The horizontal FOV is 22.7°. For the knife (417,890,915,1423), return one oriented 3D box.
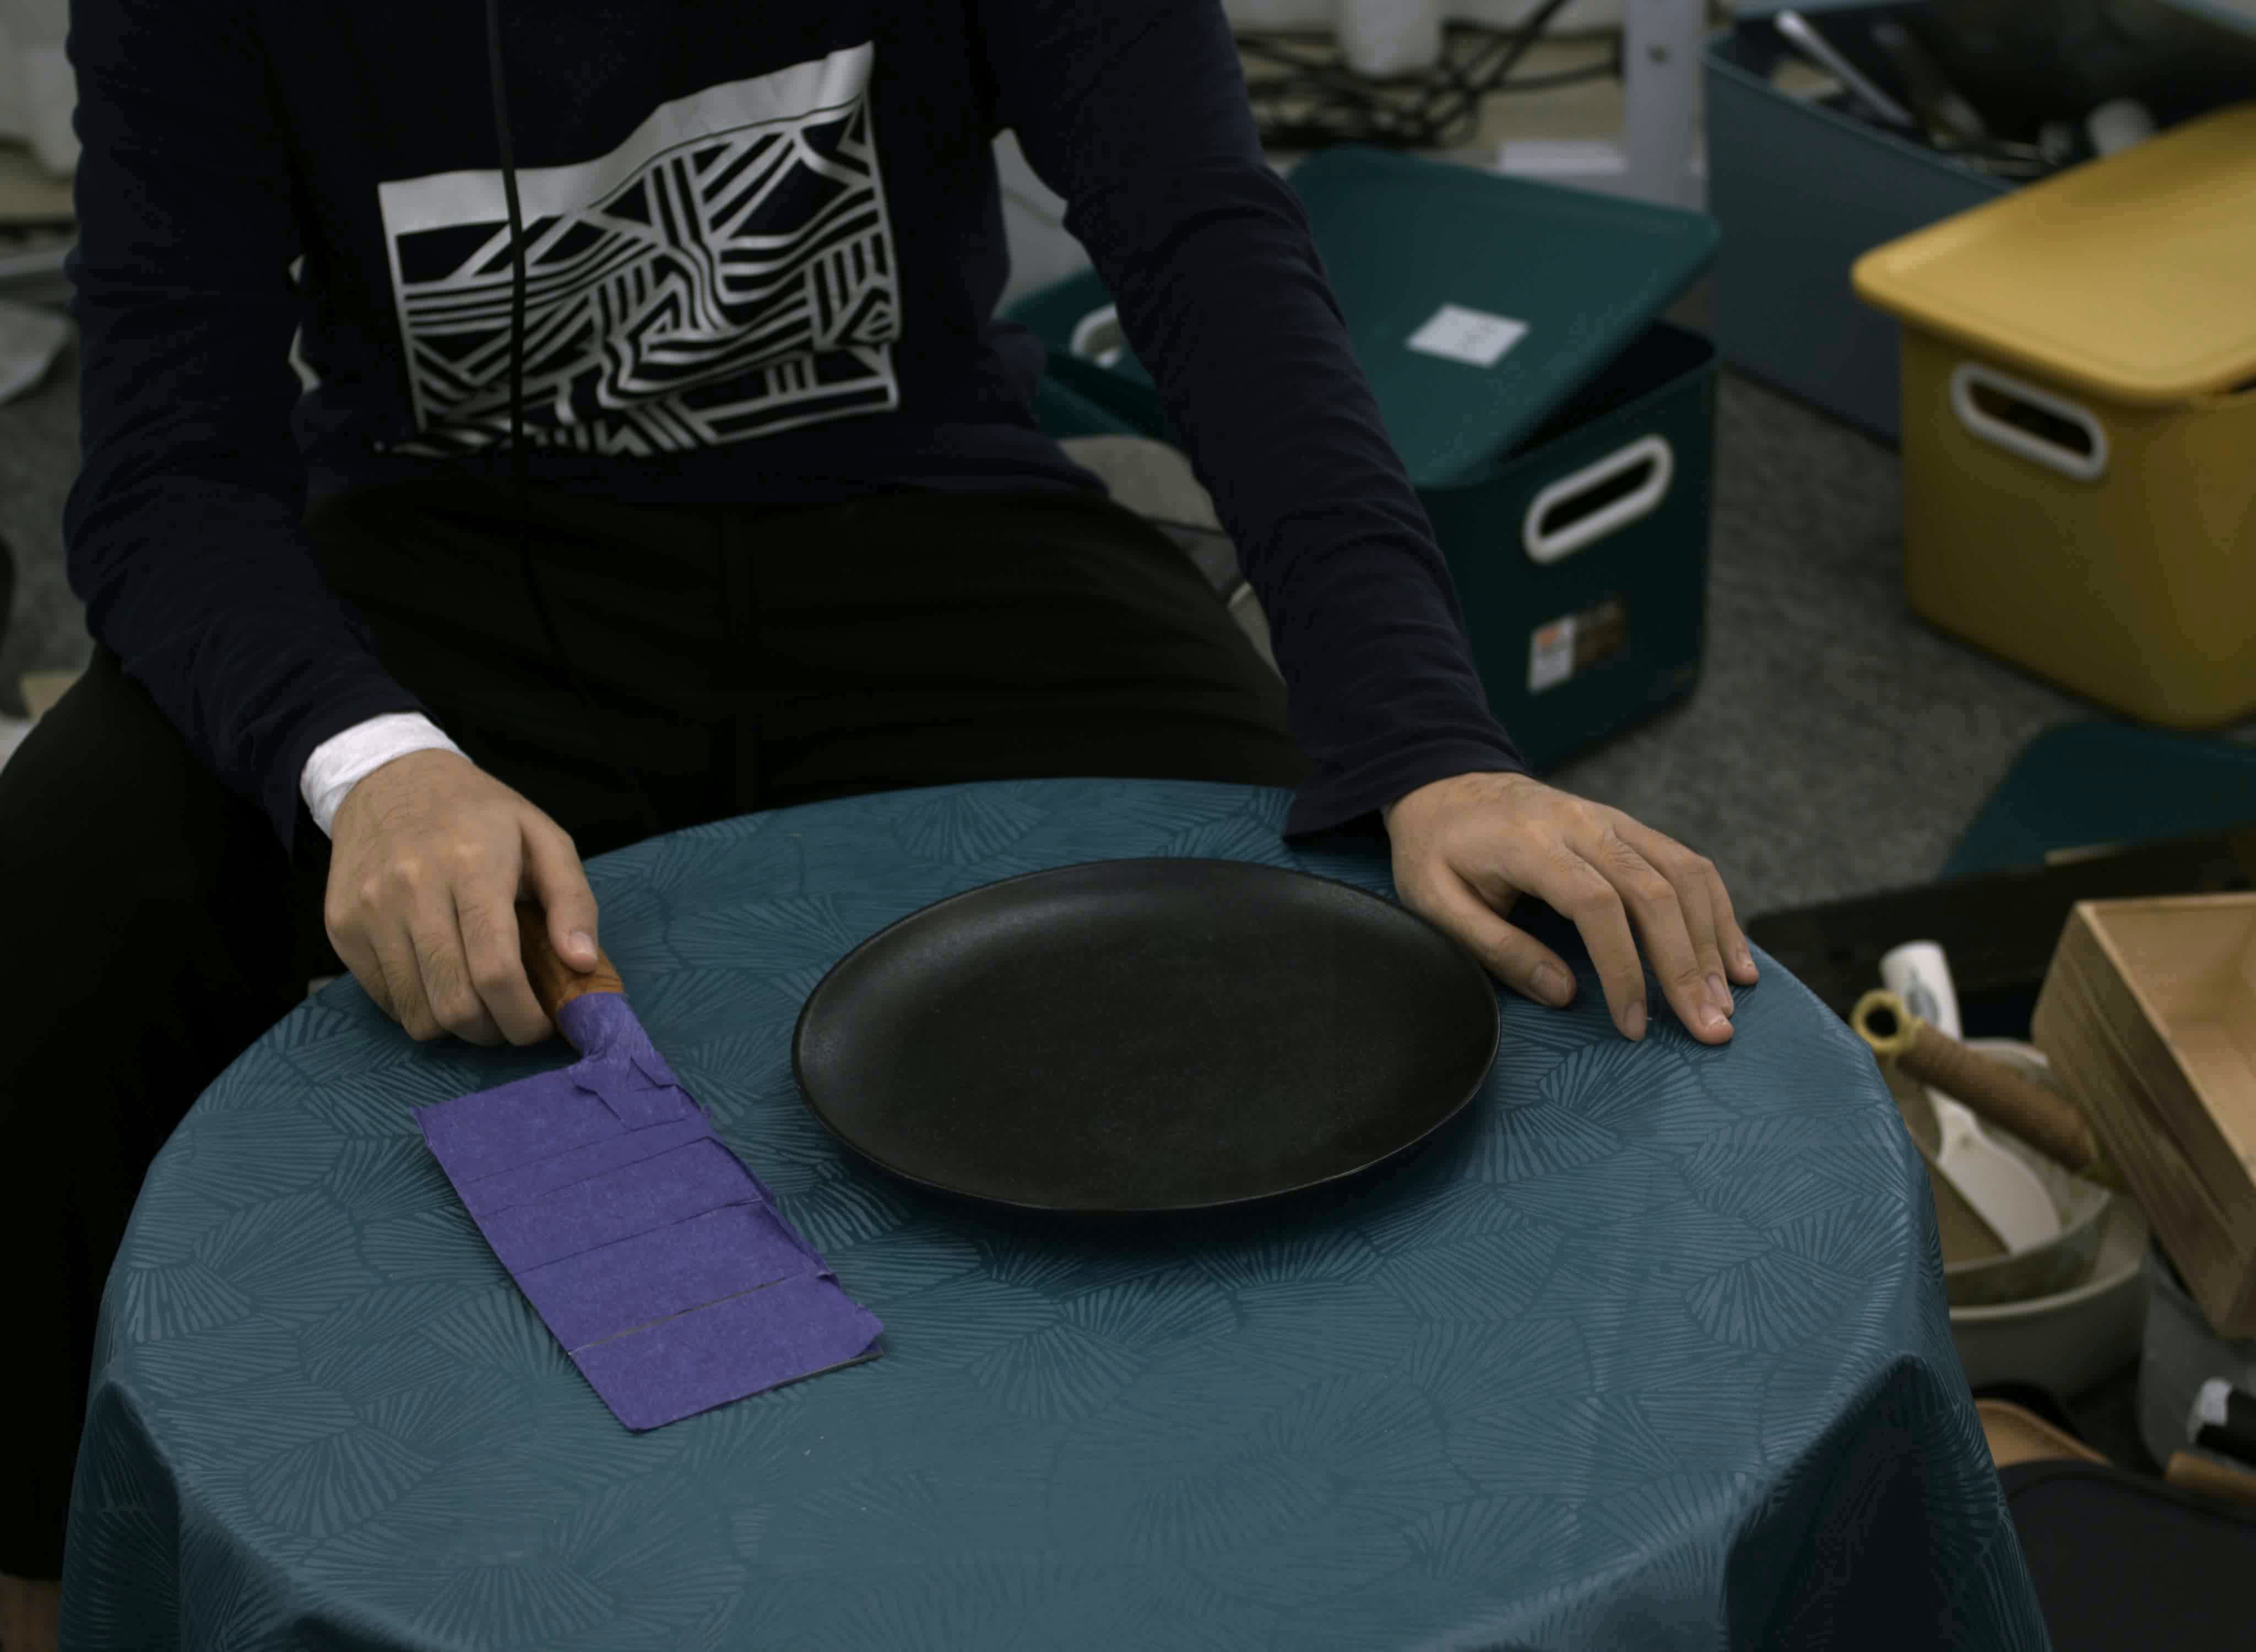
[{"bbox_3d":[-0.181,0.106,1.879,0.104,0.032,0.317,-15,30,-22],"label":"knife"}]

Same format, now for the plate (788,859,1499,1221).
[{"bbox_3d":[0.005,0.077,1.922,0.243,0.023,0.248,-2,27,1],"label":"plate"}]
